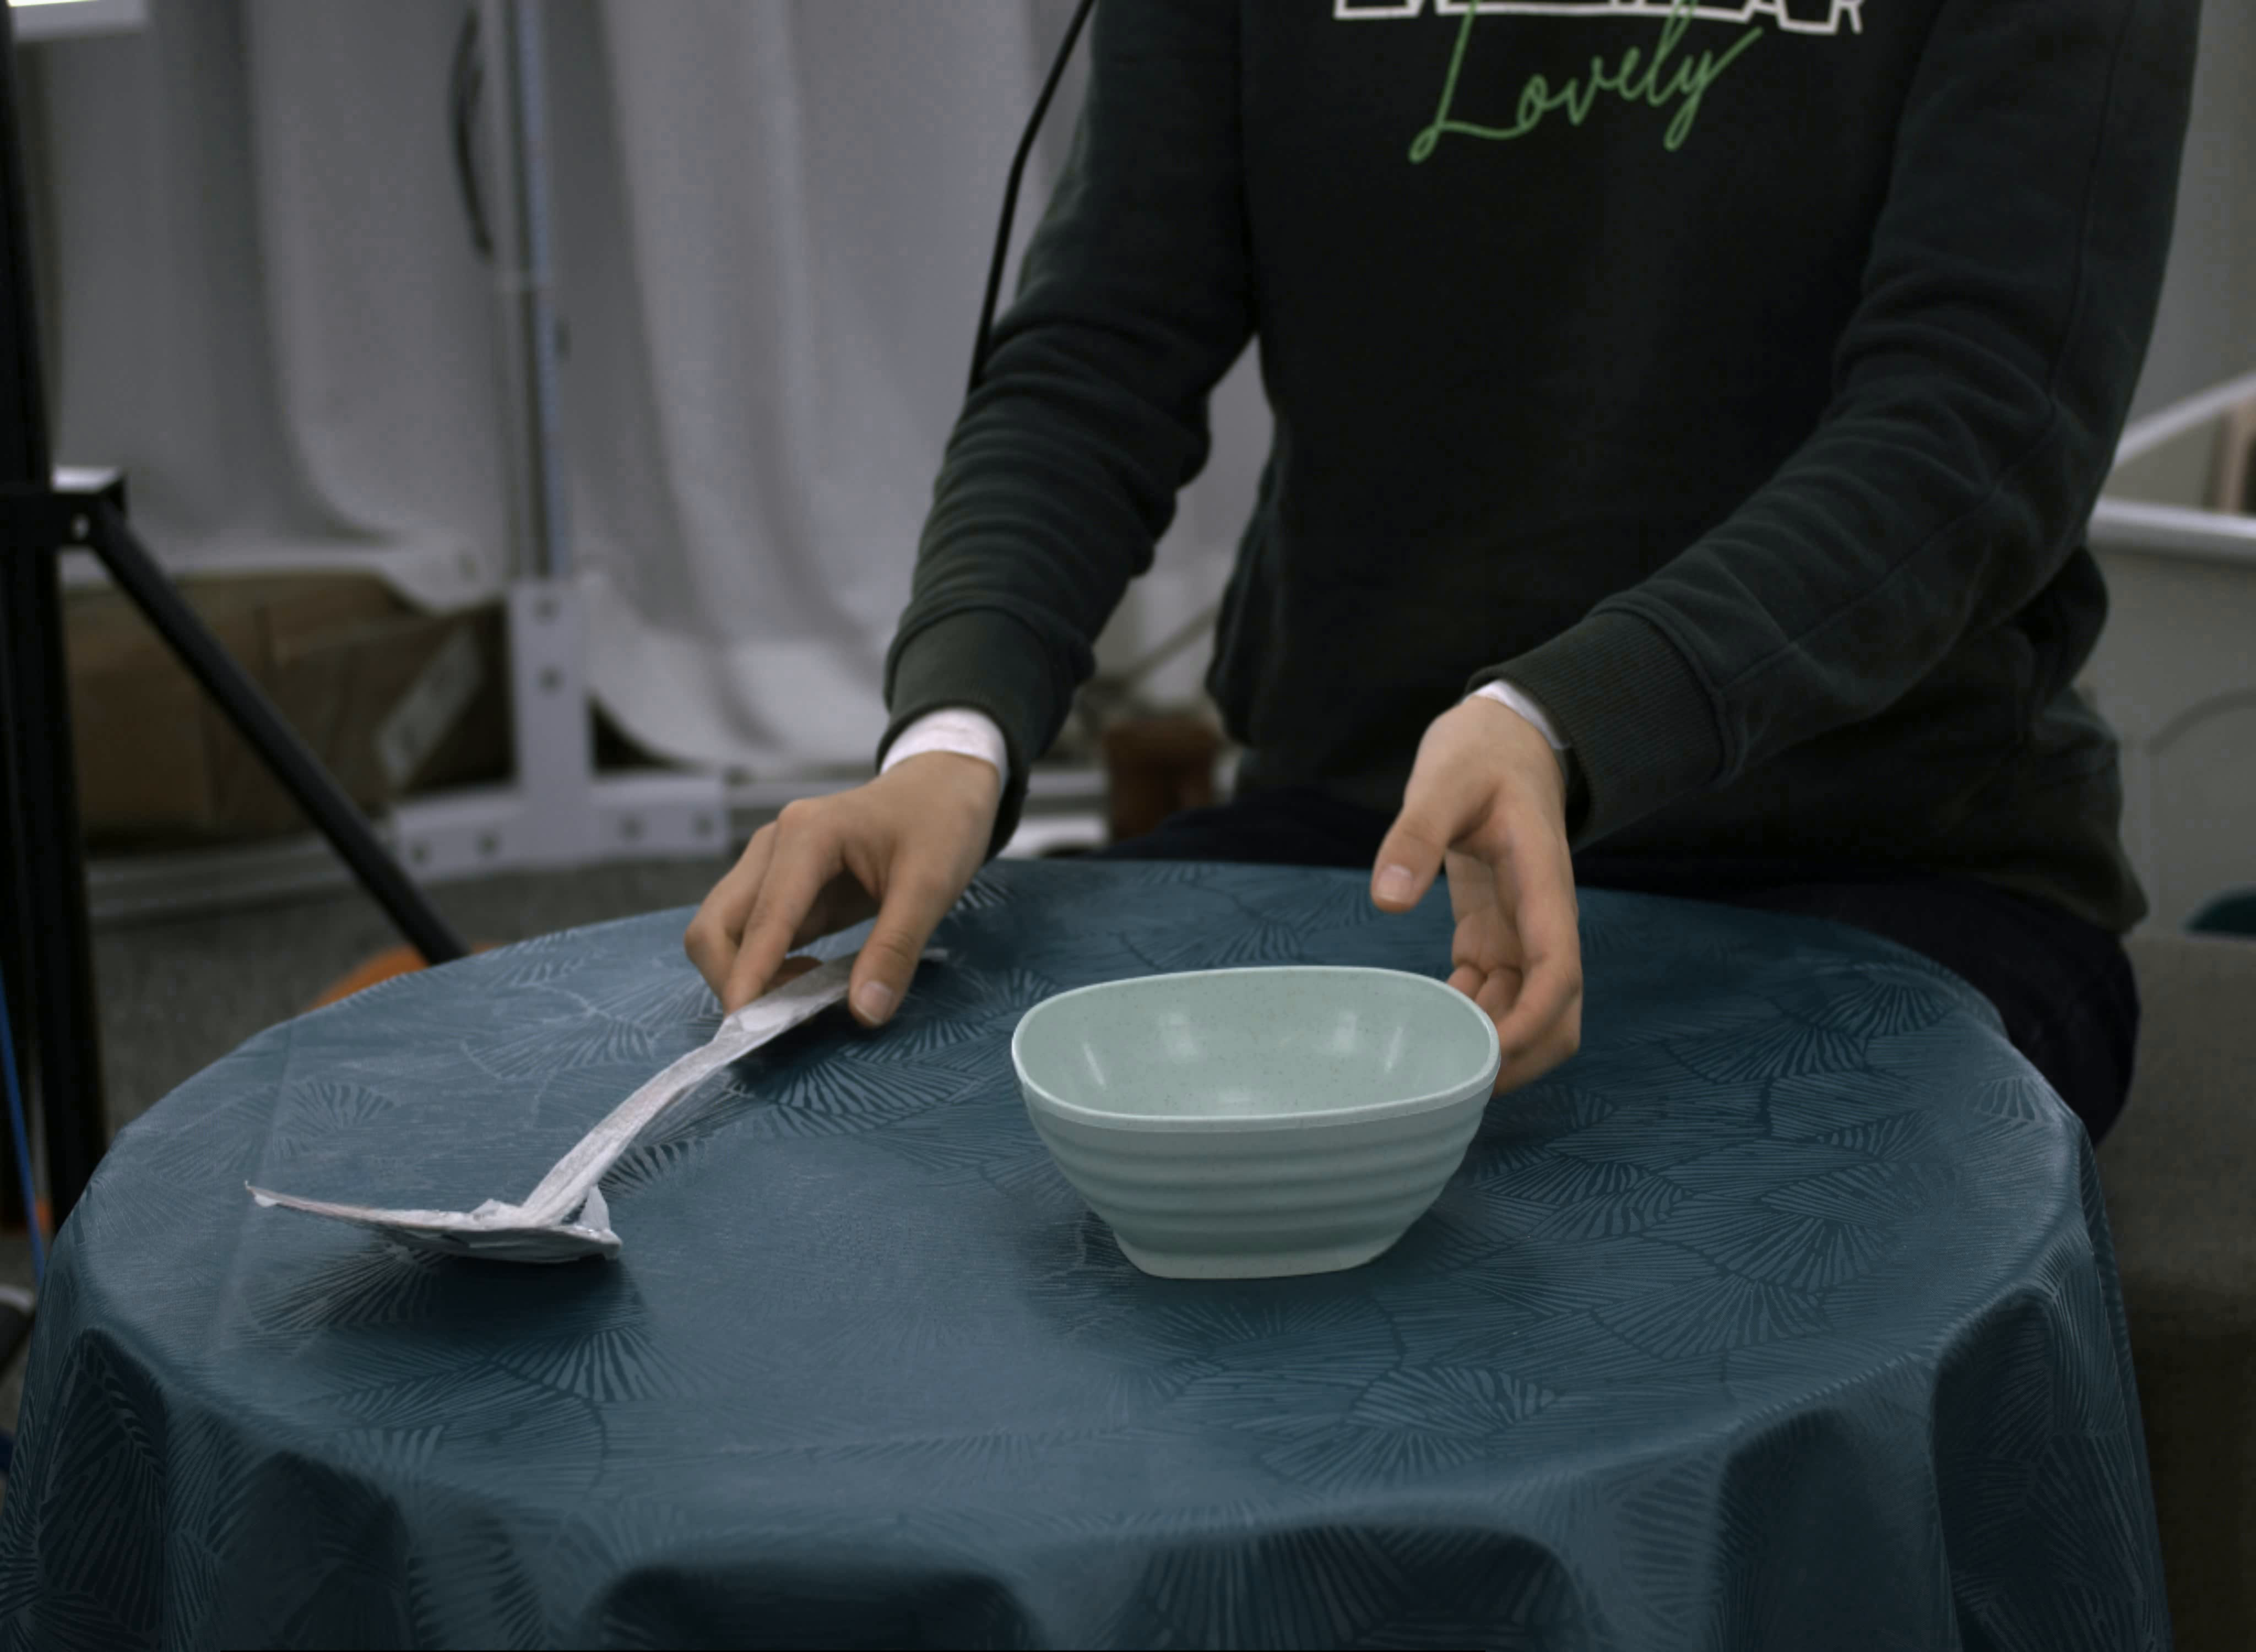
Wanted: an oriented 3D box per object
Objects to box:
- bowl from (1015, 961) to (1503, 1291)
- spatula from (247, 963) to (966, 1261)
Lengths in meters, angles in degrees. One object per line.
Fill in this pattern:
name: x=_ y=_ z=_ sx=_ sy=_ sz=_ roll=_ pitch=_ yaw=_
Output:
bowl: x=0.038 y=0.090 z=1.518 sx=0.151 sy=0.058 sz=0.152 roll=-3 pitch=18 yaw=0
spatula: x=-0.136 y=0.077 z=1.620 sx=0.100 sy=0.045 sz=0.360 roll=4 pitch=17 yaw=24
